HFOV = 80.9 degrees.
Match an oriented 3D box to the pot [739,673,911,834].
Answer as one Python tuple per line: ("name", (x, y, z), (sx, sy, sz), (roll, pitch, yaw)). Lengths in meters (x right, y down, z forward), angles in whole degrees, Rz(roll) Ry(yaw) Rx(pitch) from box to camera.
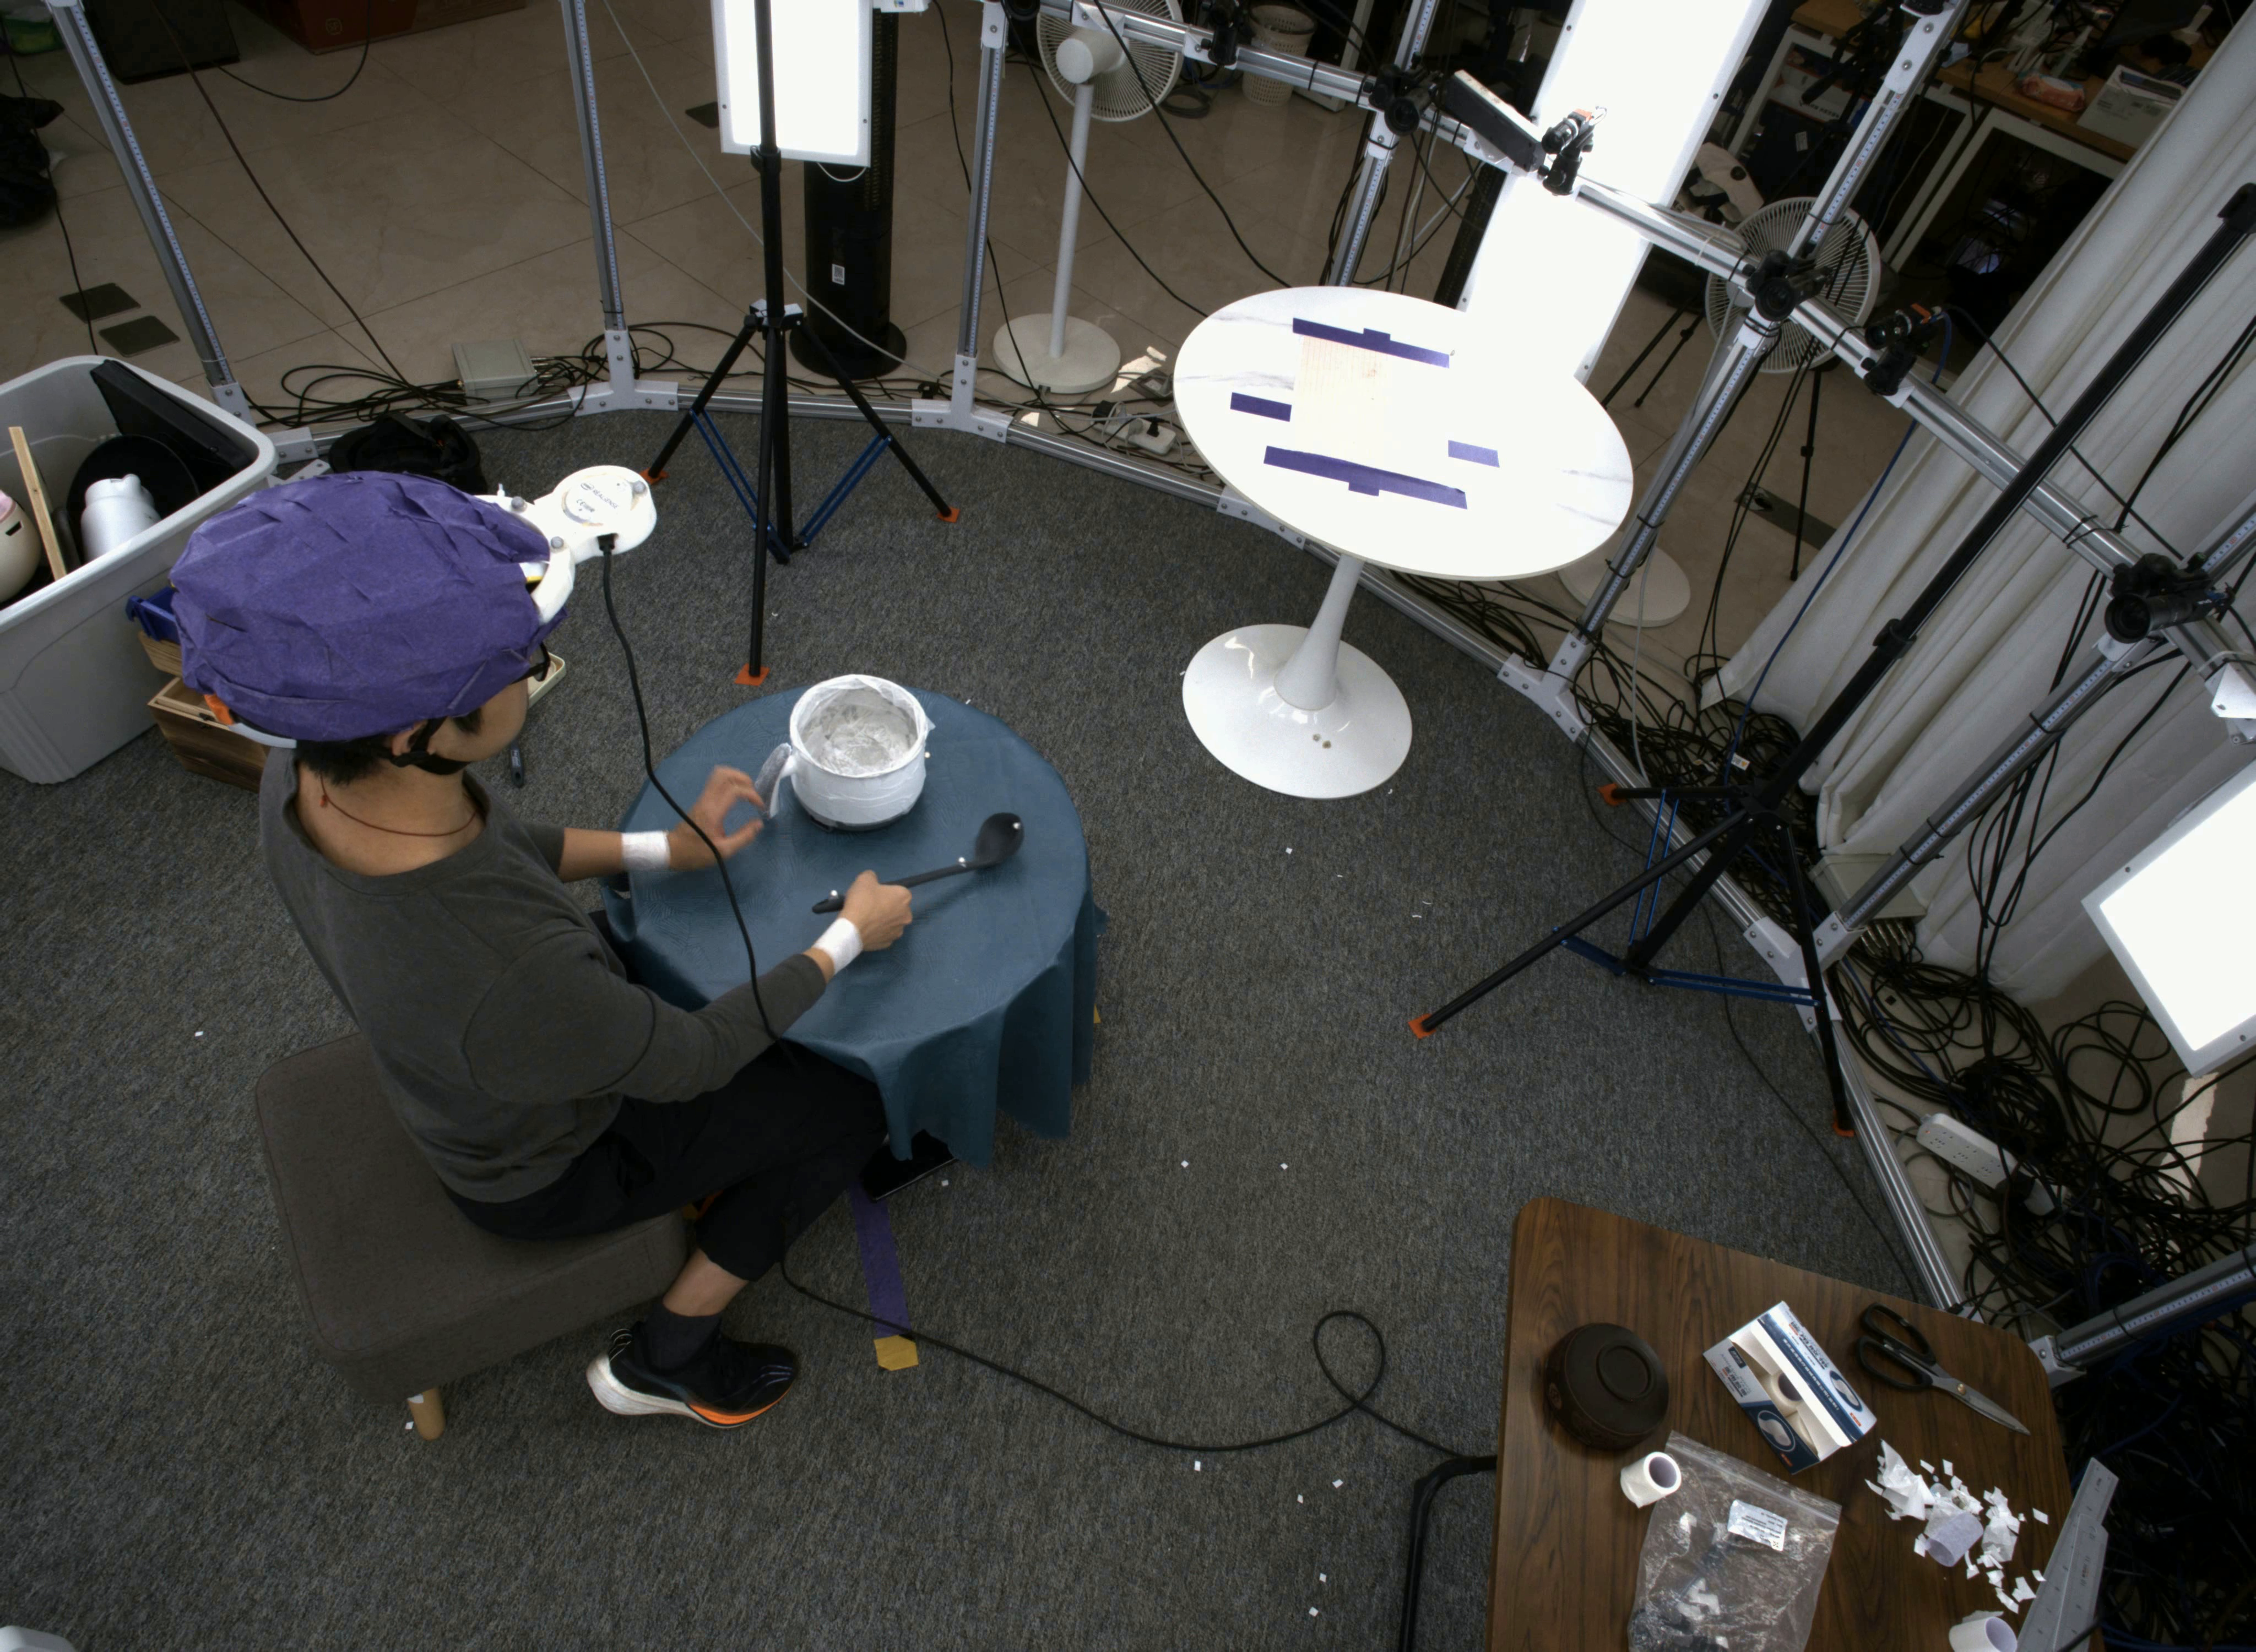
("pot", (-0.402, -0.083, 1.714), (0.235, 0.139, 0.174), (-24, 62, -27))

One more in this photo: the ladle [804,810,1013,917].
("ladle", (-0.280, 0.044, 1.662), (0.317, 0.083, 0.065), (-18, 100, -40))
